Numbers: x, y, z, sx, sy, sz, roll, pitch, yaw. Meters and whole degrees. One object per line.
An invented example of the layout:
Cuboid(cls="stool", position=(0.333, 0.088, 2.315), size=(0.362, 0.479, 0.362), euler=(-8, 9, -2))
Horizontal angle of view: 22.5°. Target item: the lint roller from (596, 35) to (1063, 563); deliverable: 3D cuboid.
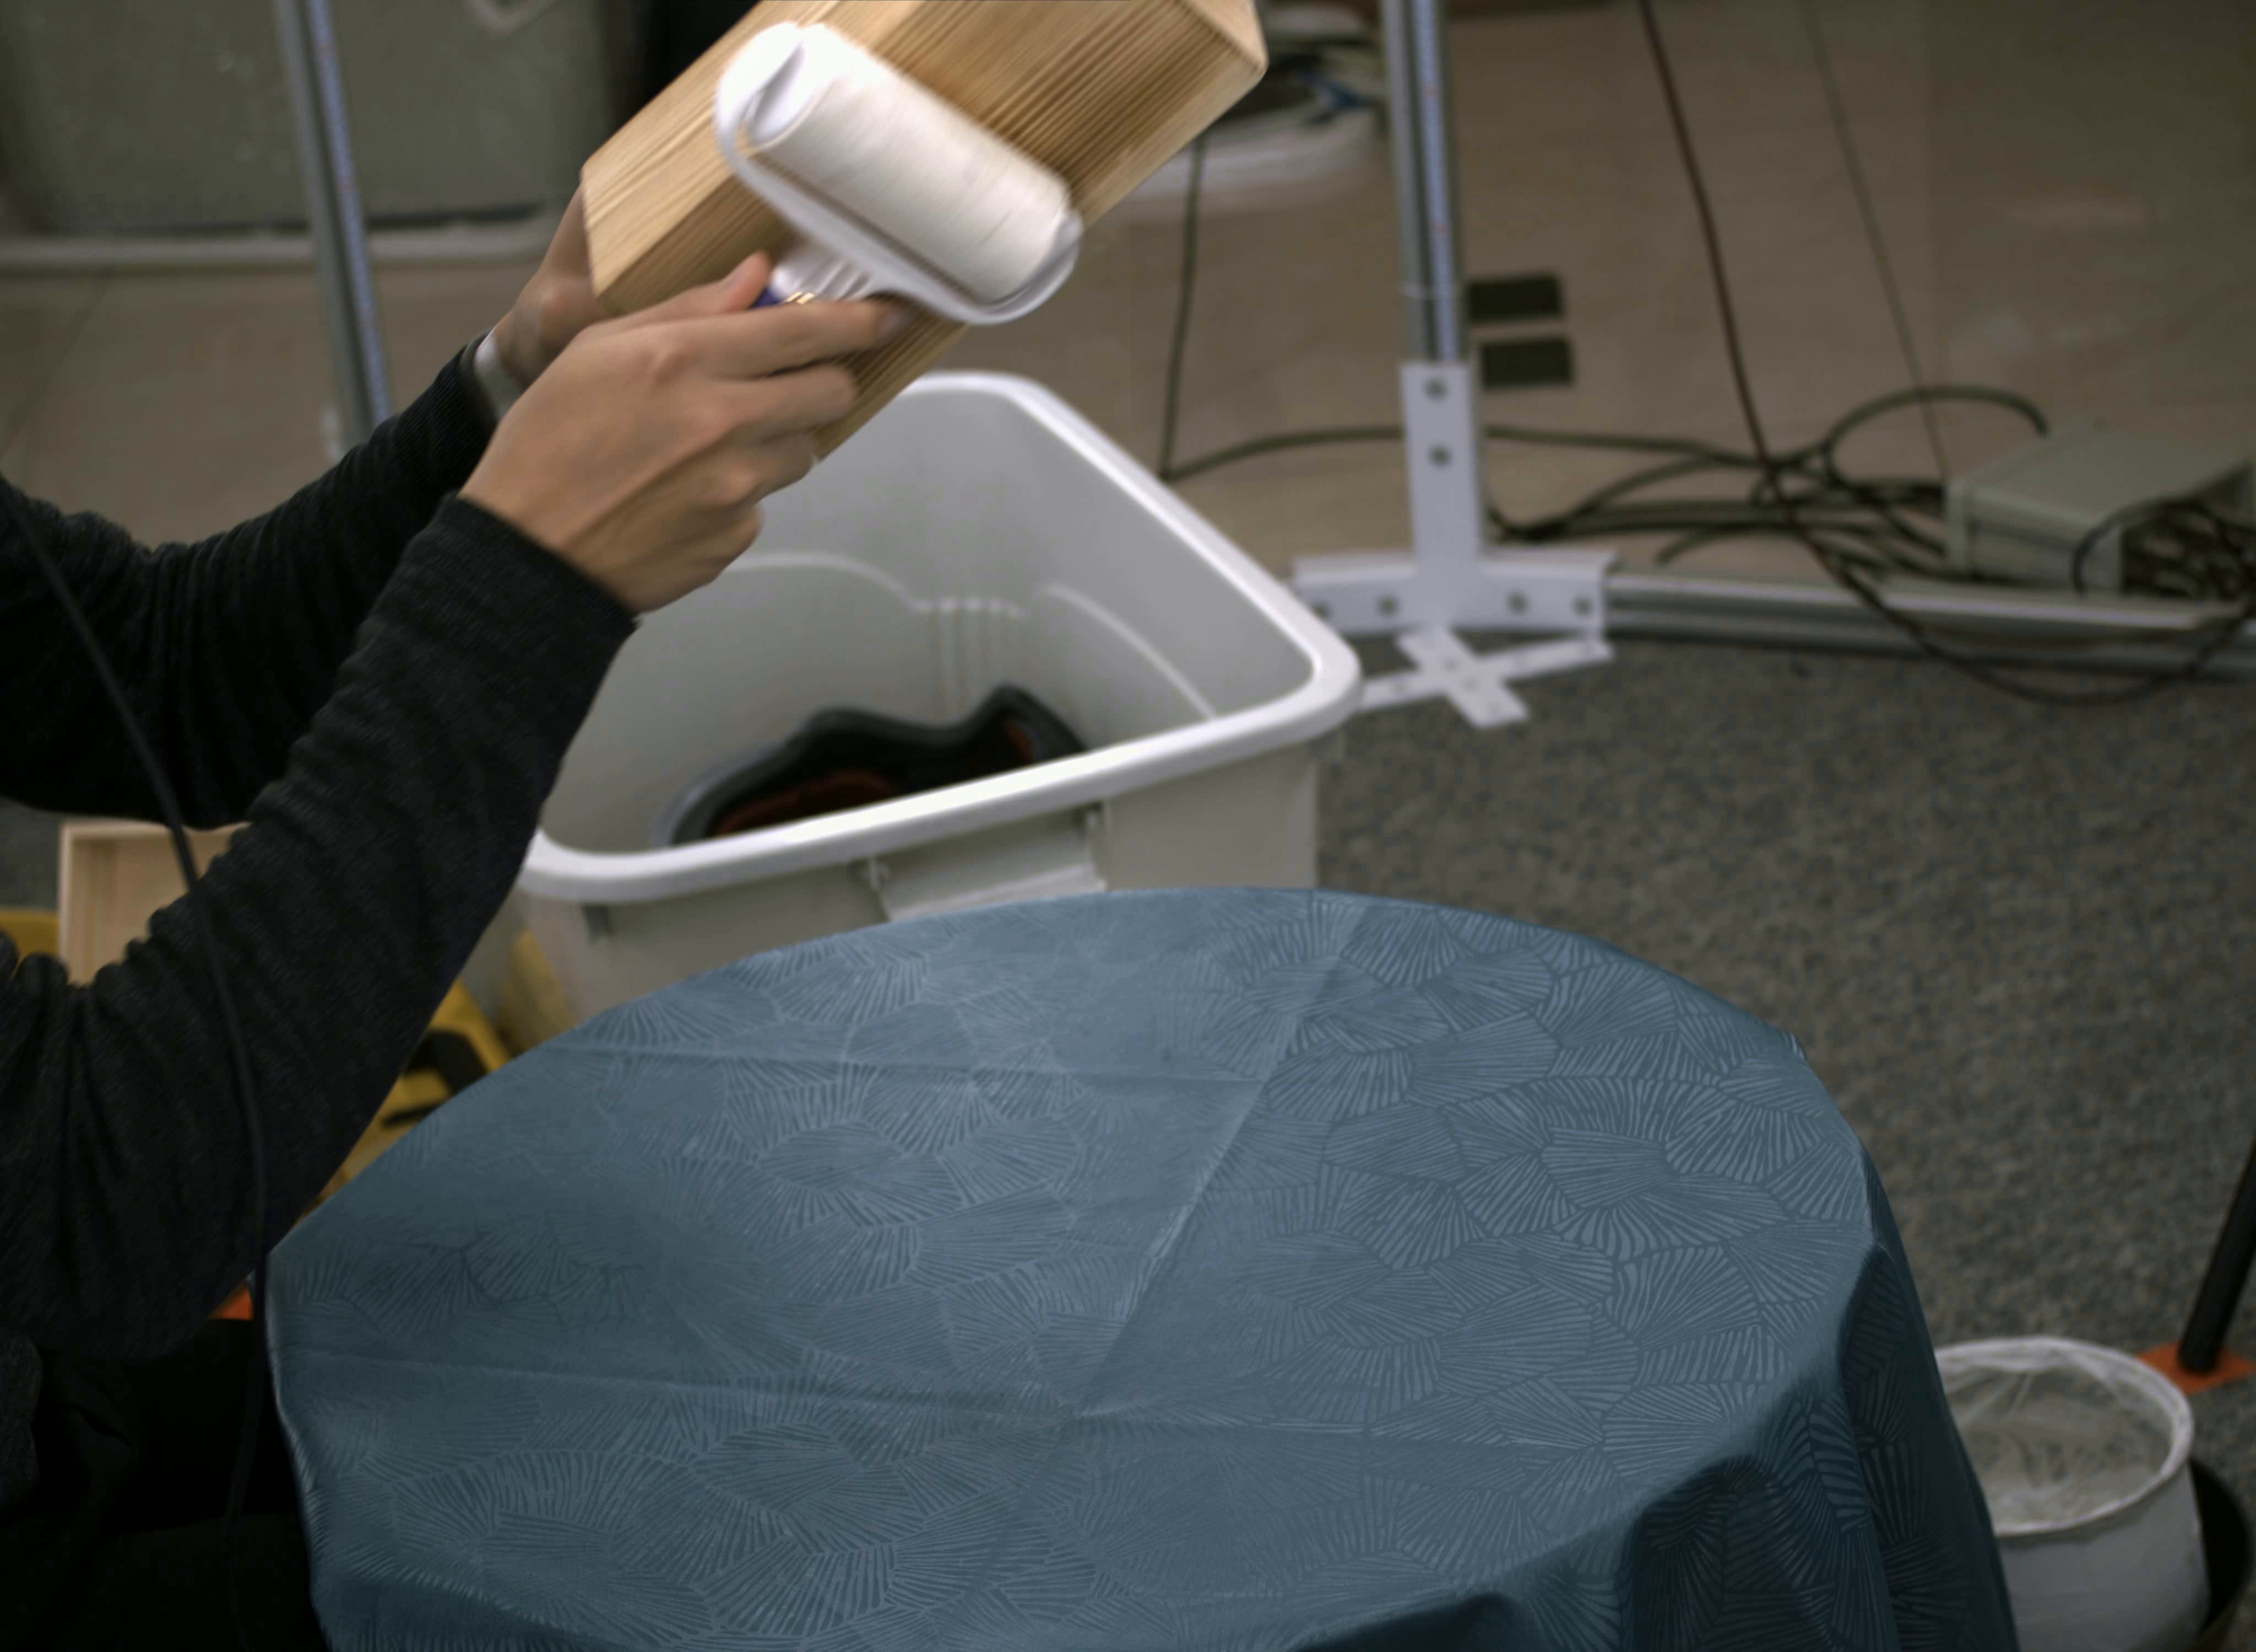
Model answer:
Cuboid(cls="lint roller", position=(-0.115, -0.158, 1.833), size=(0.134, 0.181, 0.049), euler=(32, 6, -33))

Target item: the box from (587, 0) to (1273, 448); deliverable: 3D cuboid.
Cuboid(cls="box", position=(-0.068, -0.241, 1.883), size=(0.213, 0.108, 0.079), euler=(-39, 37, 21))
